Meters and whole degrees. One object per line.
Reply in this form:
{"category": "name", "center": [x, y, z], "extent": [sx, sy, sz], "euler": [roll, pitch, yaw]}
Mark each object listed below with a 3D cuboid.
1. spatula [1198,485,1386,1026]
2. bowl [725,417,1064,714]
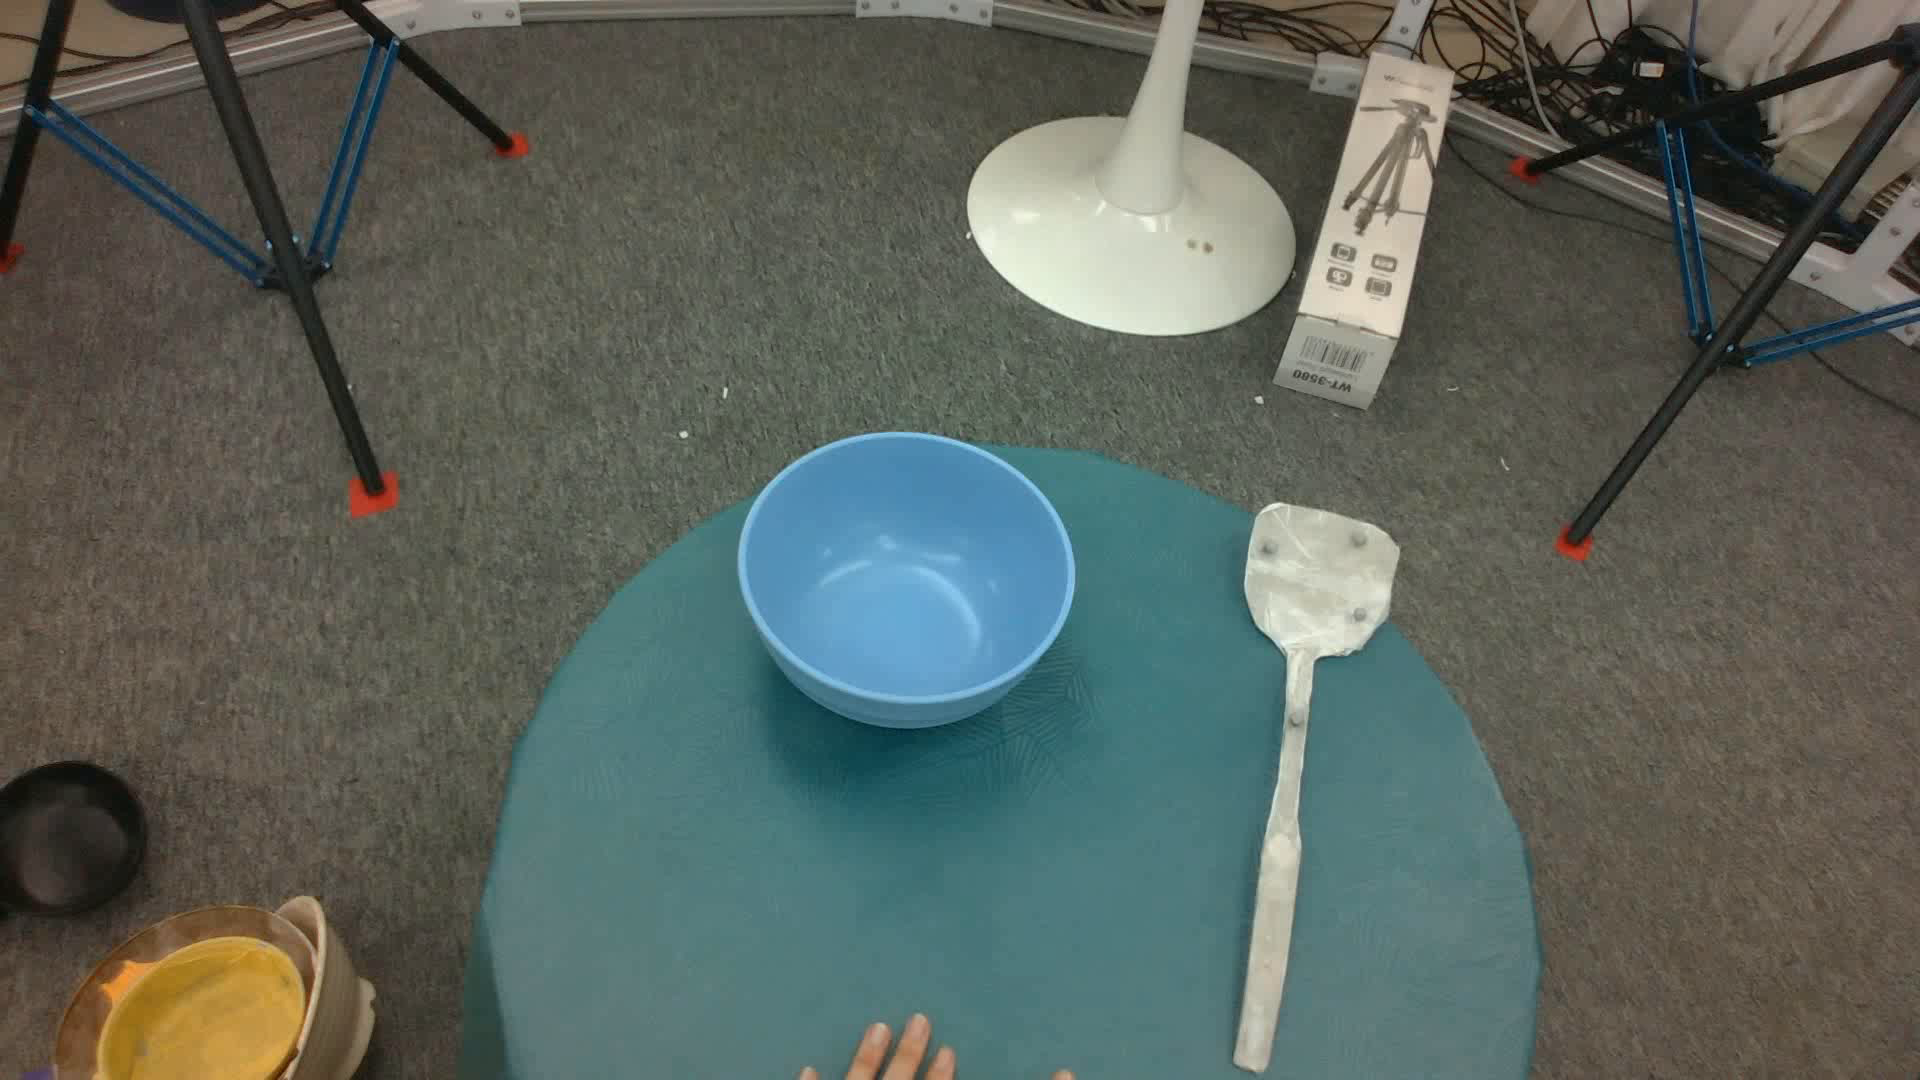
{"category": "spatula", "center": [0.191, 0.117, 0.834], "extent": [0.098, 0.044, 0.367], "euler": [18, 52, 3]}
{"category": "bowl", "center": [-0.042, 0.029, 0.831], "extent": [0.196, 0.095, 0.197], "euler": [5, 51, -6]}
